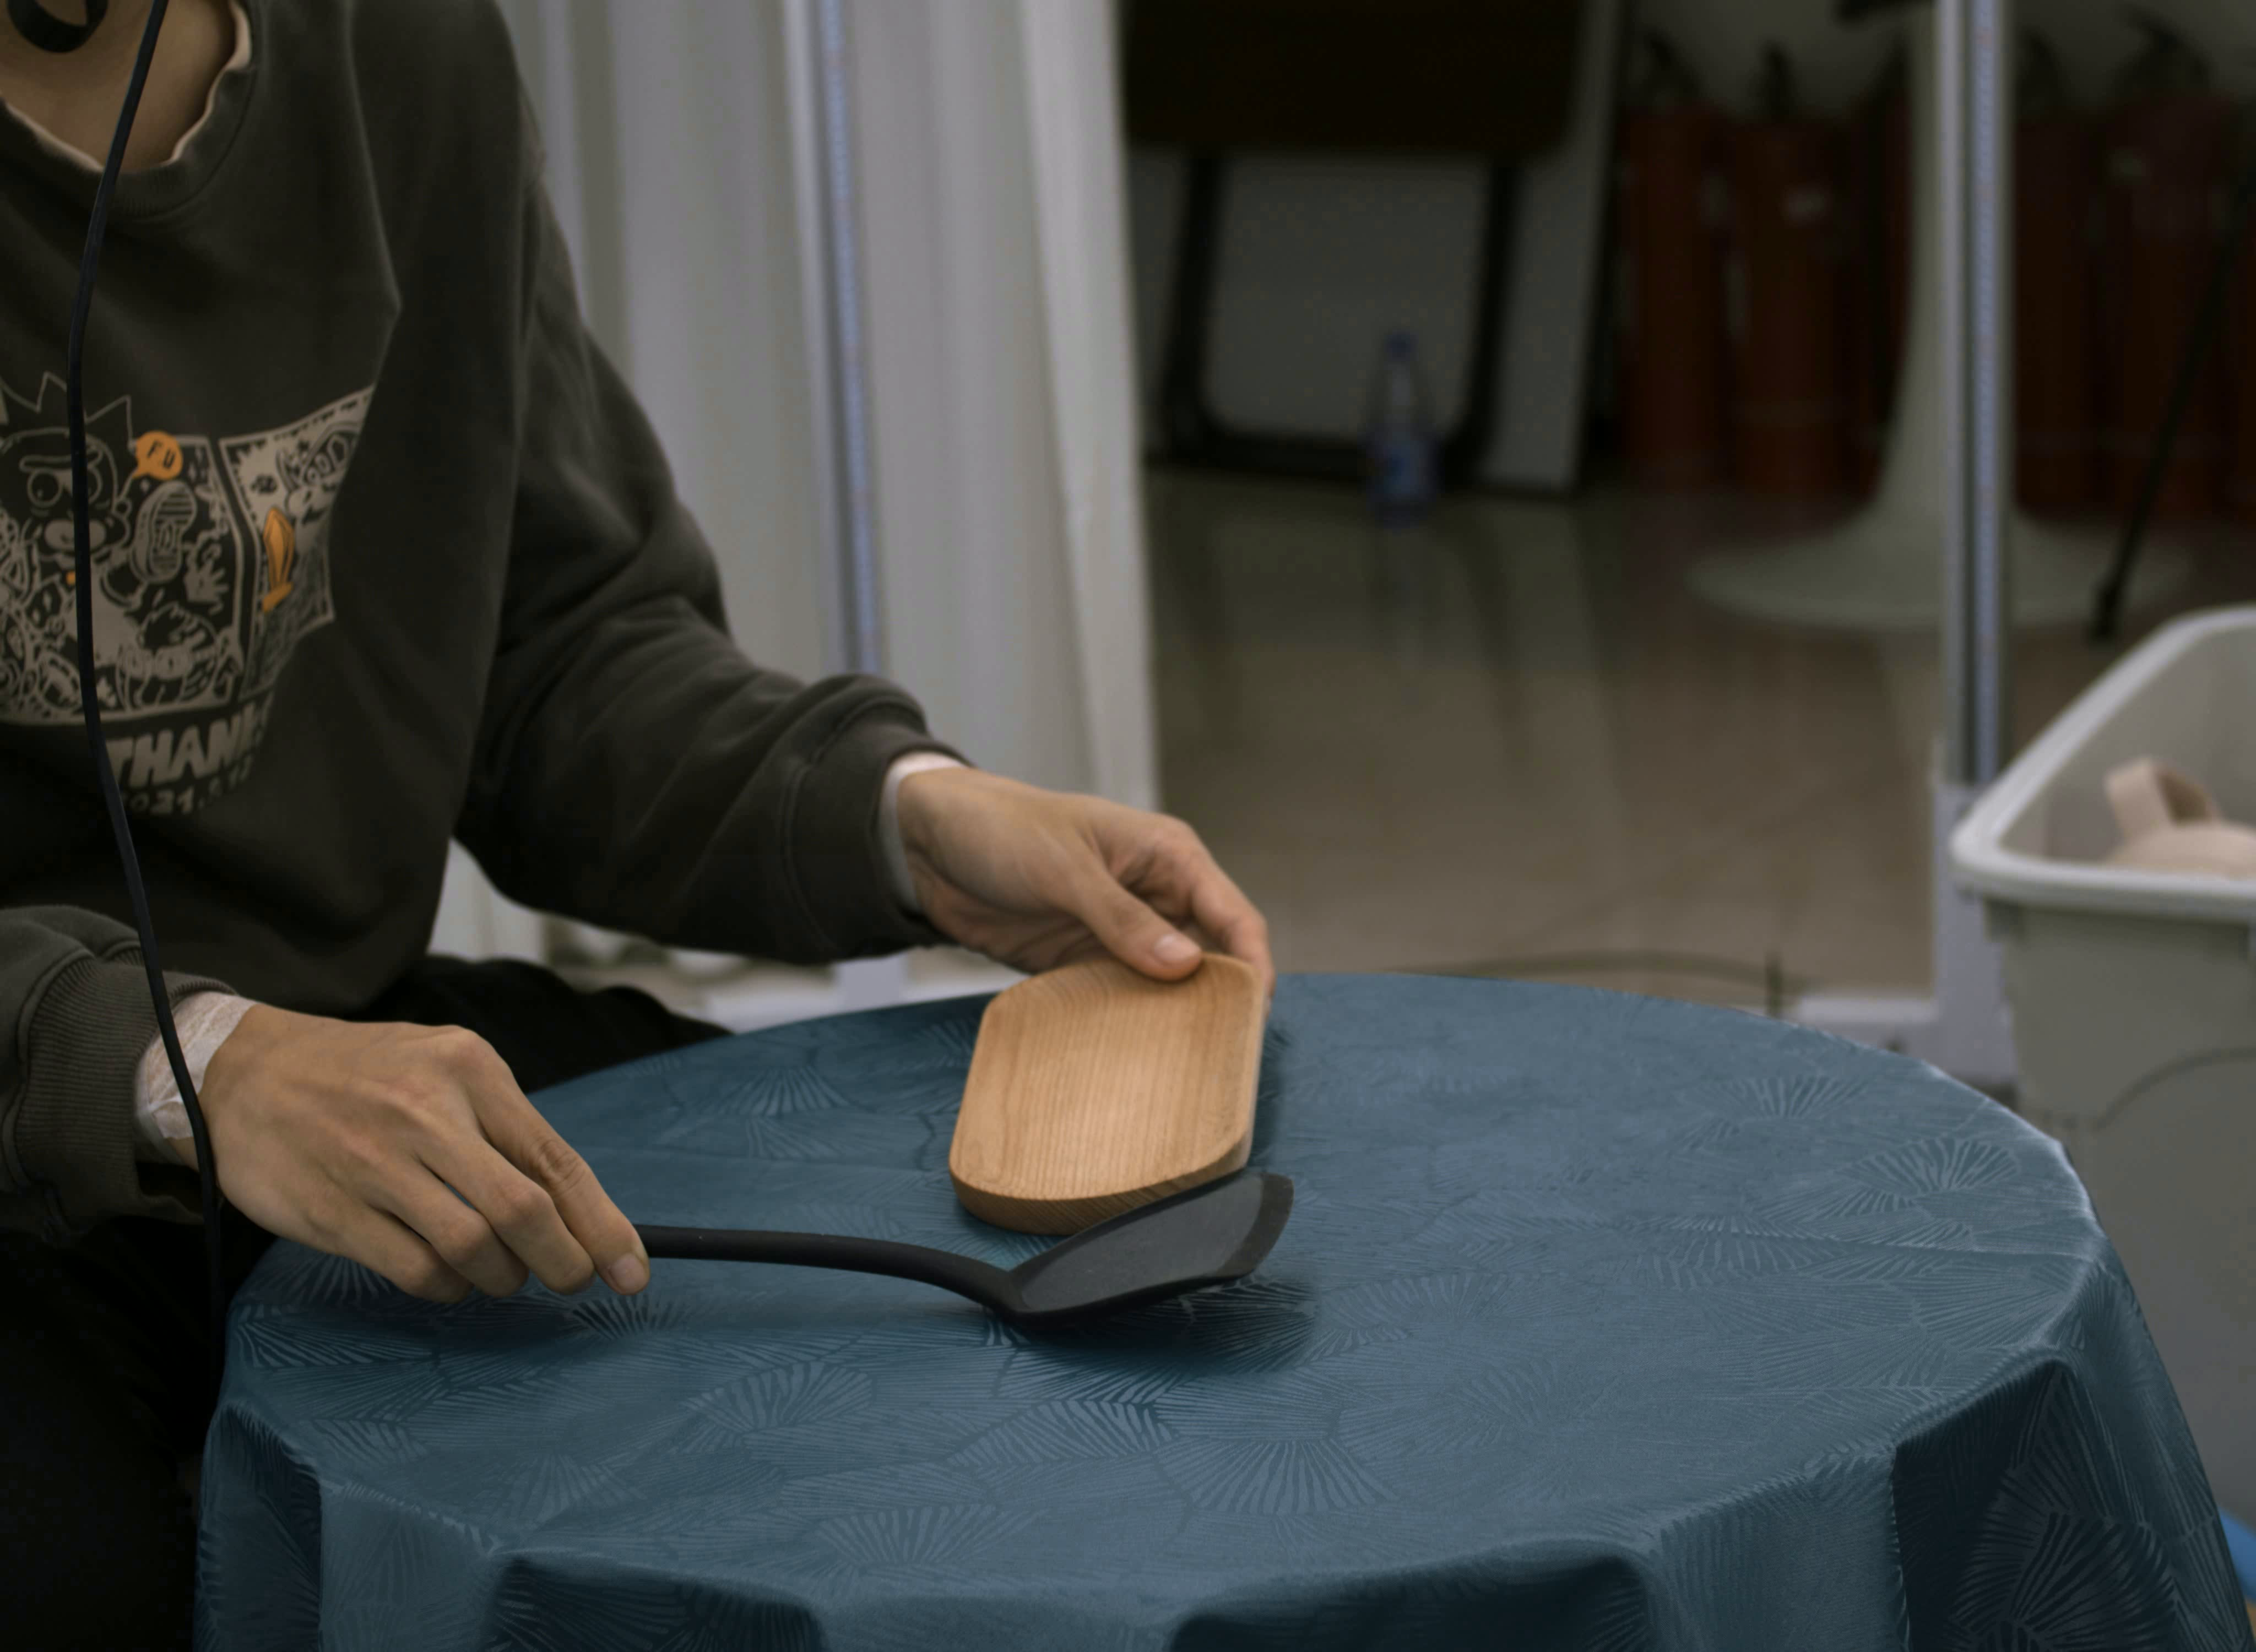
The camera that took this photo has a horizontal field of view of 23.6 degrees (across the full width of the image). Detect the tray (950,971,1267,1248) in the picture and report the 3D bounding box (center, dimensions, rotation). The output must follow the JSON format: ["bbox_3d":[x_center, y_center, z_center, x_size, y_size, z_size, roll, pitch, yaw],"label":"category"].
[{"bbox_3d":[-0.004,0.094,1.829,0.101,0.020,0.231,-8,18,6],"label":"tray"}]

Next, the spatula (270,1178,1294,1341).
[{"bbox_3d":[-0.110,0.127,1.673,0.324,0.041,0.099,5,14,10],"label":"spatula"}]
